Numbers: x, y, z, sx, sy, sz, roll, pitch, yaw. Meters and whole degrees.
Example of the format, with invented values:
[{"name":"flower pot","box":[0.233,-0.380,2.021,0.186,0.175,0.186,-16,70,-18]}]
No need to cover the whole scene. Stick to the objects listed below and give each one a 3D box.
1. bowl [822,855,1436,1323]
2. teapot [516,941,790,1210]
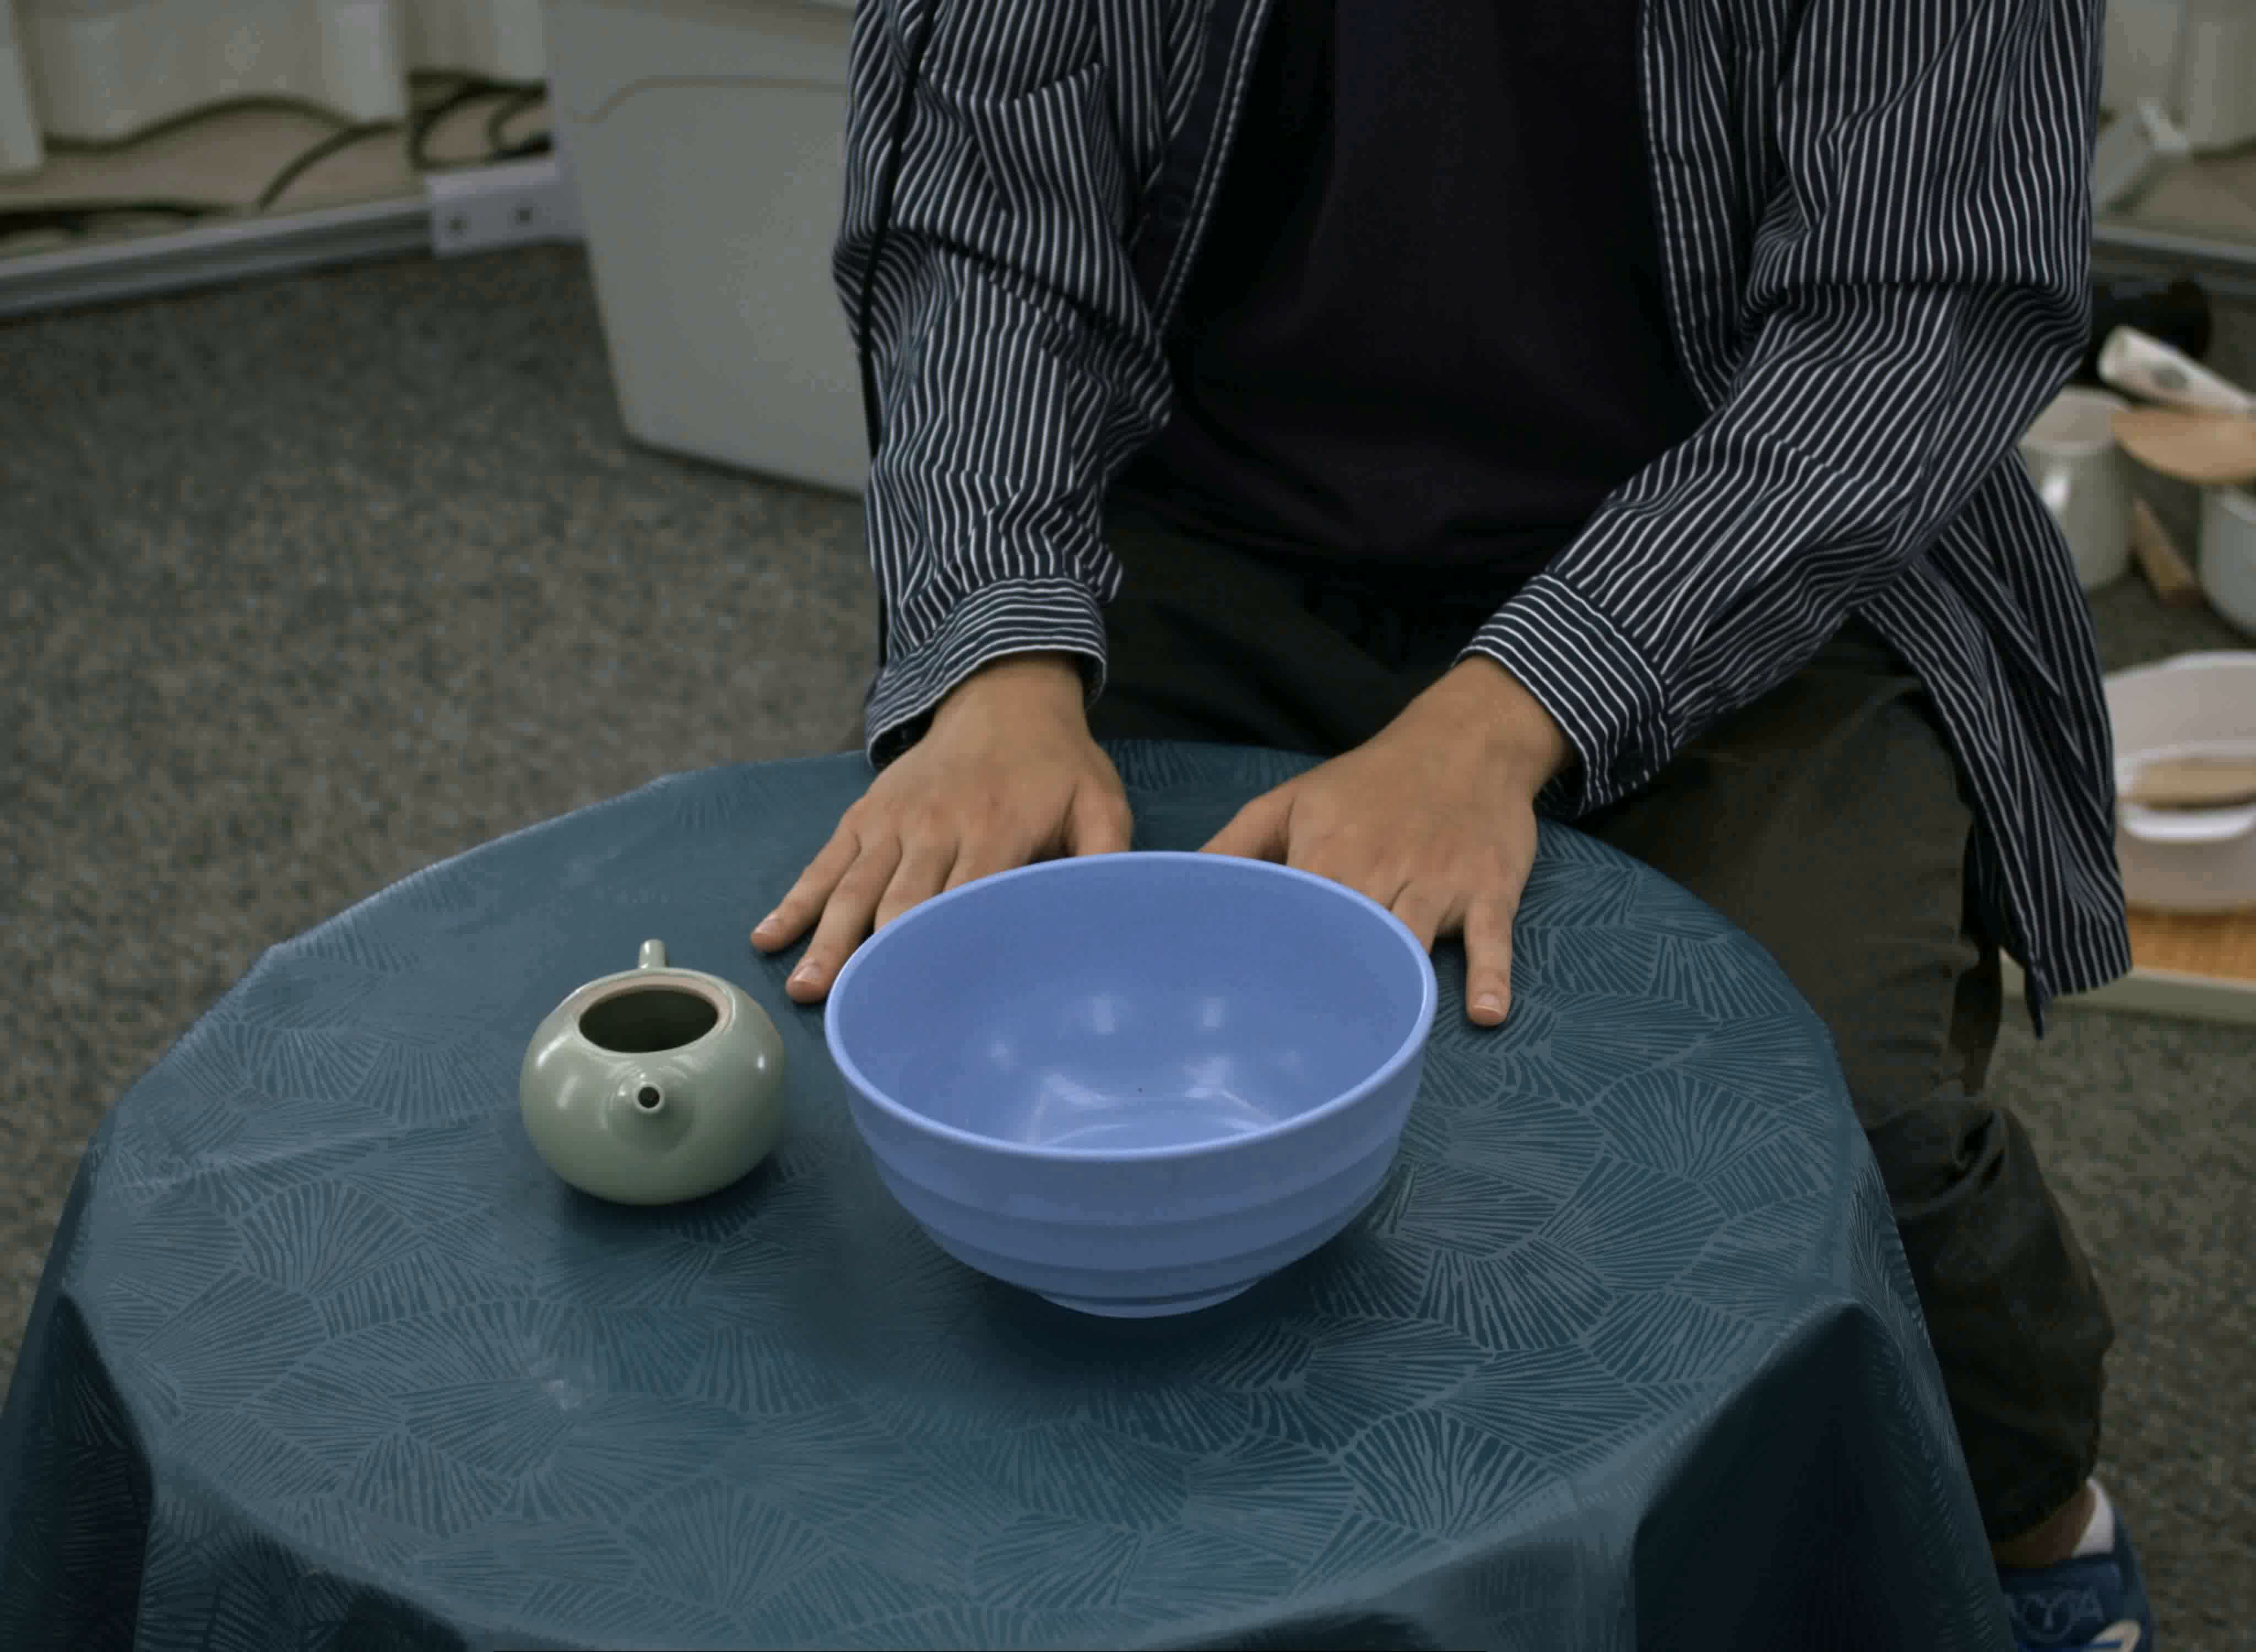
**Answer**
[{"name":"bowl","box":[0.003,0.095,1.806,0.195,0.094,0.199,-3,27,2]},{"name":"teapot","box":[-0.158,0.084,1.881,0.091,0.060,0.130,-5,26,3]}]
